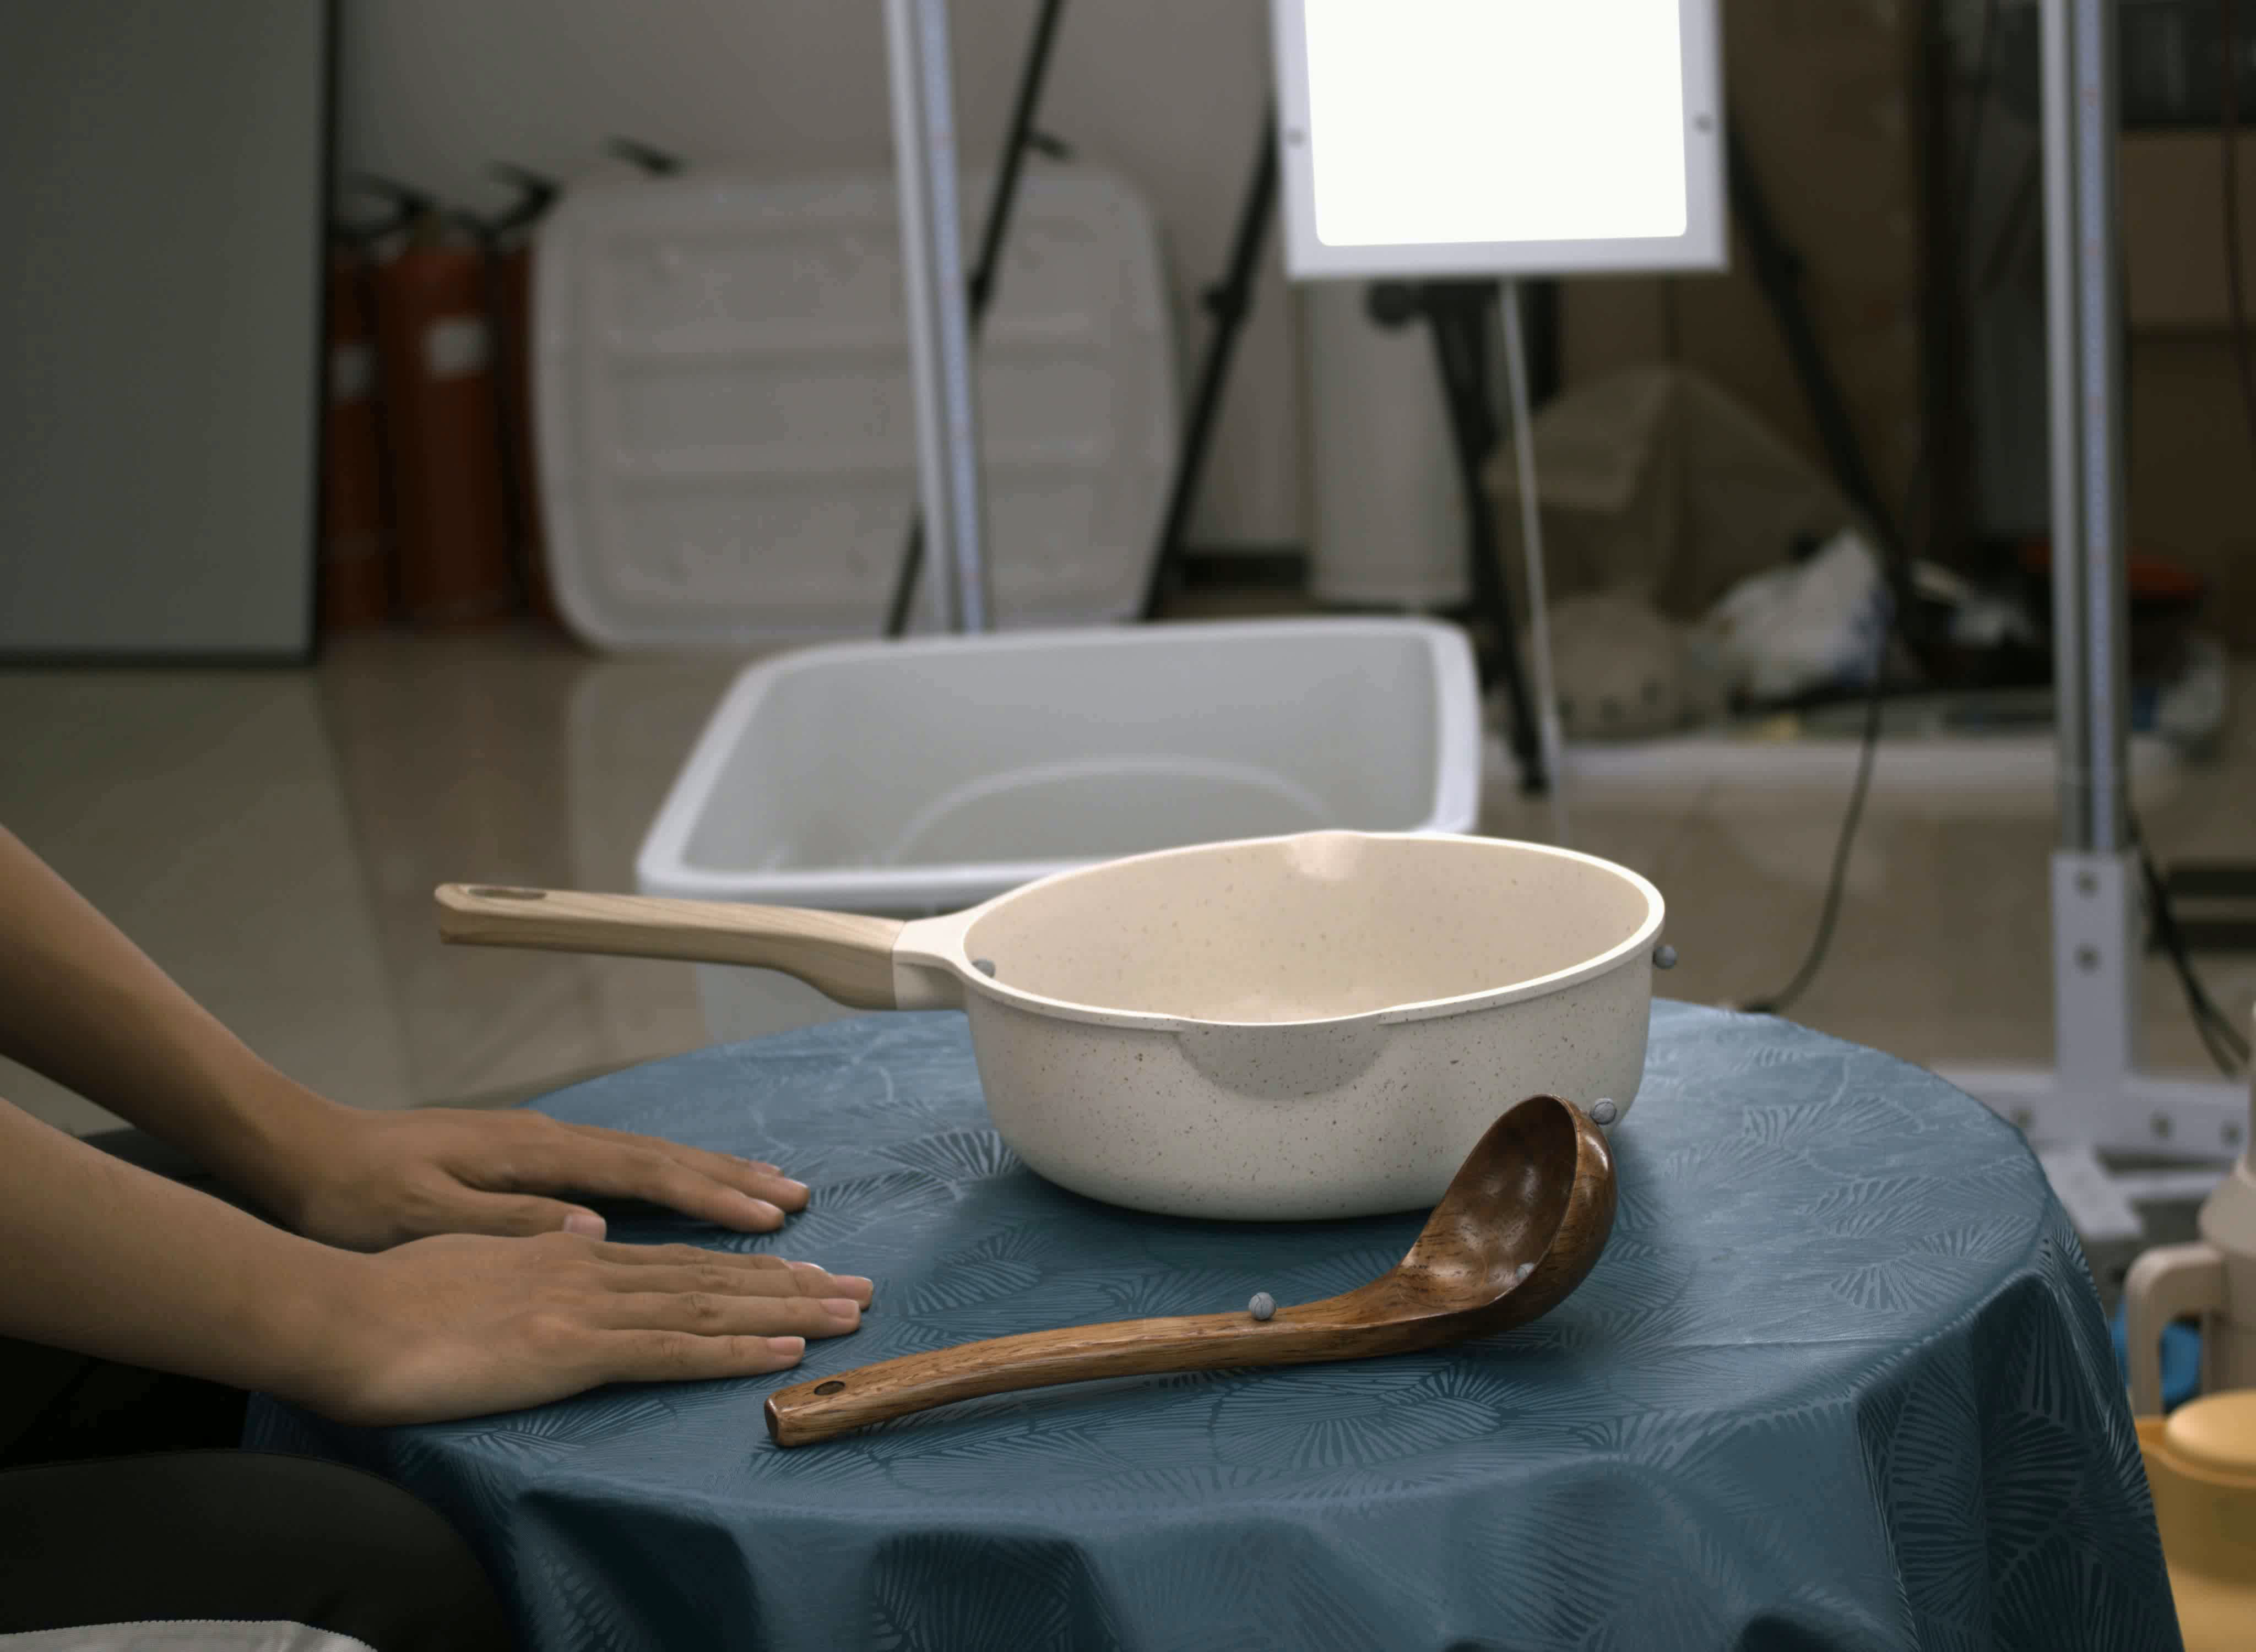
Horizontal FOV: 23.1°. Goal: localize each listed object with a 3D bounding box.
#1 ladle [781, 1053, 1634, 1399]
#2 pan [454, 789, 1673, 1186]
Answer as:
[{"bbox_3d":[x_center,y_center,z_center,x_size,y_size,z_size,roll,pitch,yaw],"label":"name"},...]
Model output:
[{"bbox_3d":[0.026,0.123,1.707,0.271,0.077,0.082,-7,15,-8],"label":"ladle"},{"bbox_3d":[-0.022,0.056,1.960,0.437,0.102,0.261,-3,15,8],"label":"pan"}]
